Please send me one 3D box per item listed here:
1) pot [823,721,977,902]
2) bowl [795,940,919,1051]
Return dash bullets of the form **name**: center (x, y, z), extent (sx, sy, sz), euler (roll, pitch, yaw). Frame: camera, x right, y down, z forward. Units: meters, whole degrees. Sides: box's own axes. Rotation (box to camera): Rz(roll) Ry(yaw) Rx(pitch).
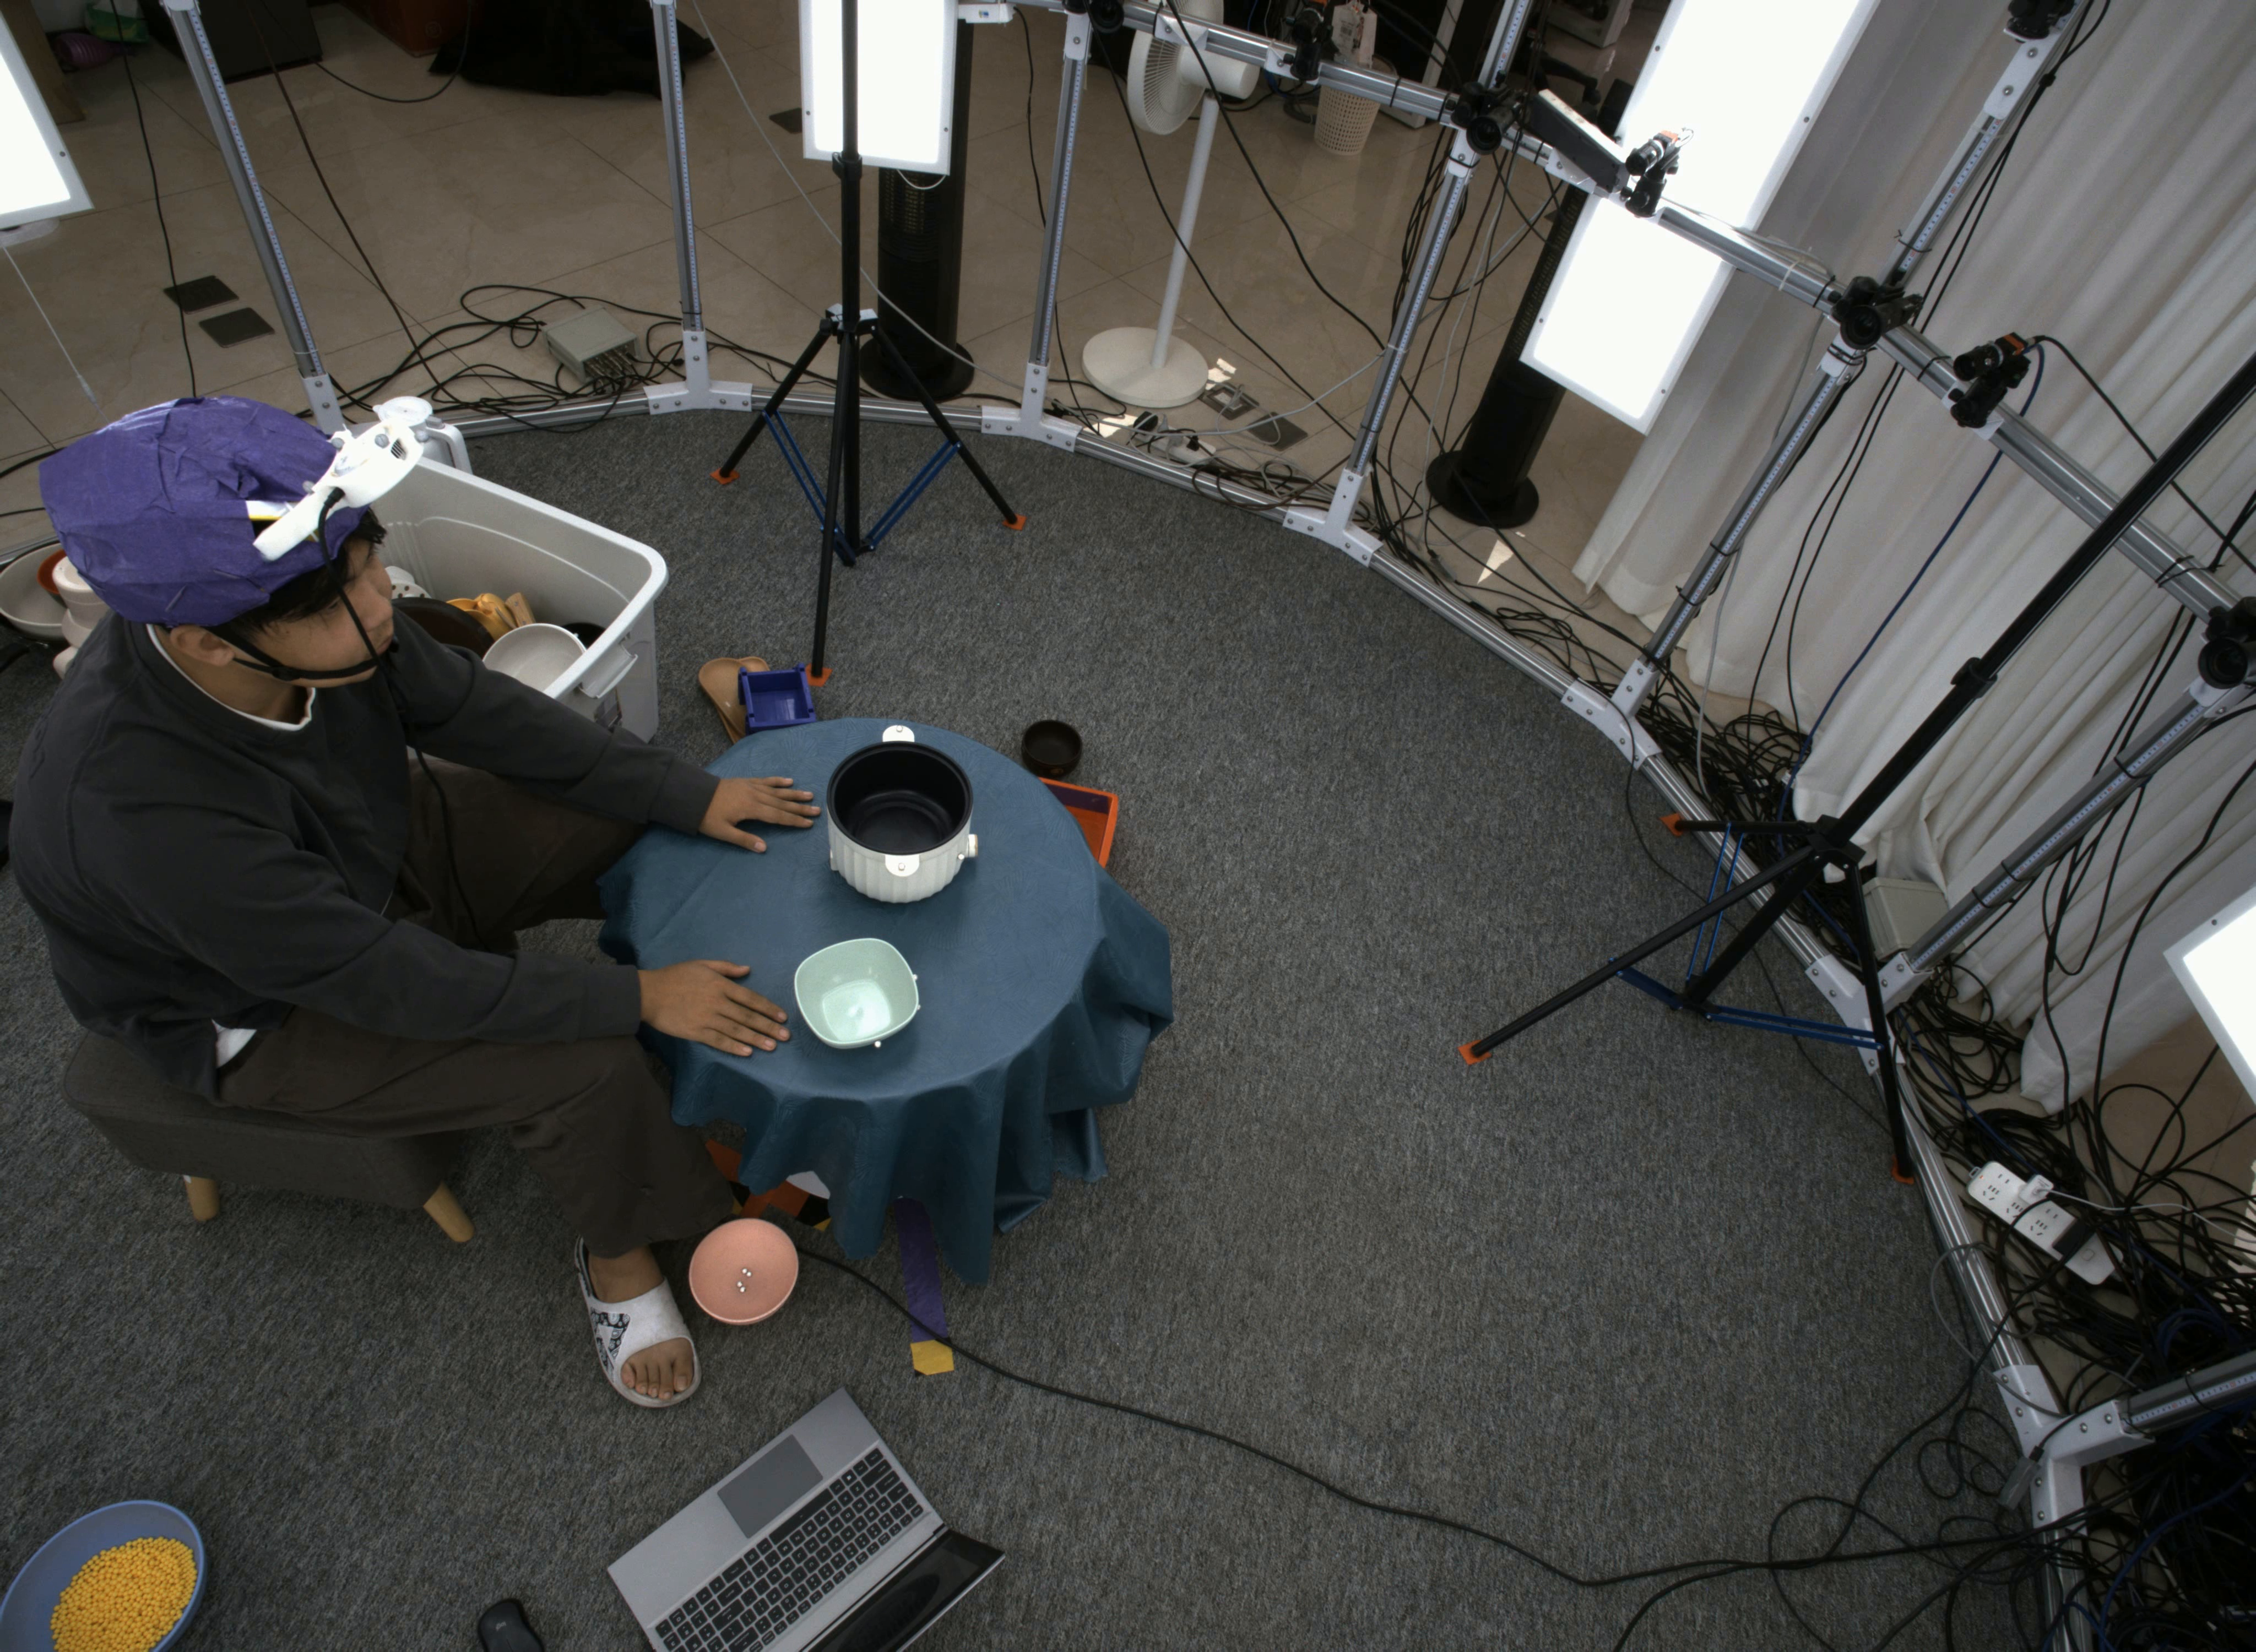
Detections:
- **pot**: center (-0.289, -0.003, 1.665), extent (0.190, 0.146, 0.235), euler (-4, 56, -11)
- **bowl**: center (-0.324, 0.210, 1.552), extent (0.151, 0.060, 0.149), euler (9, 51, -9)
